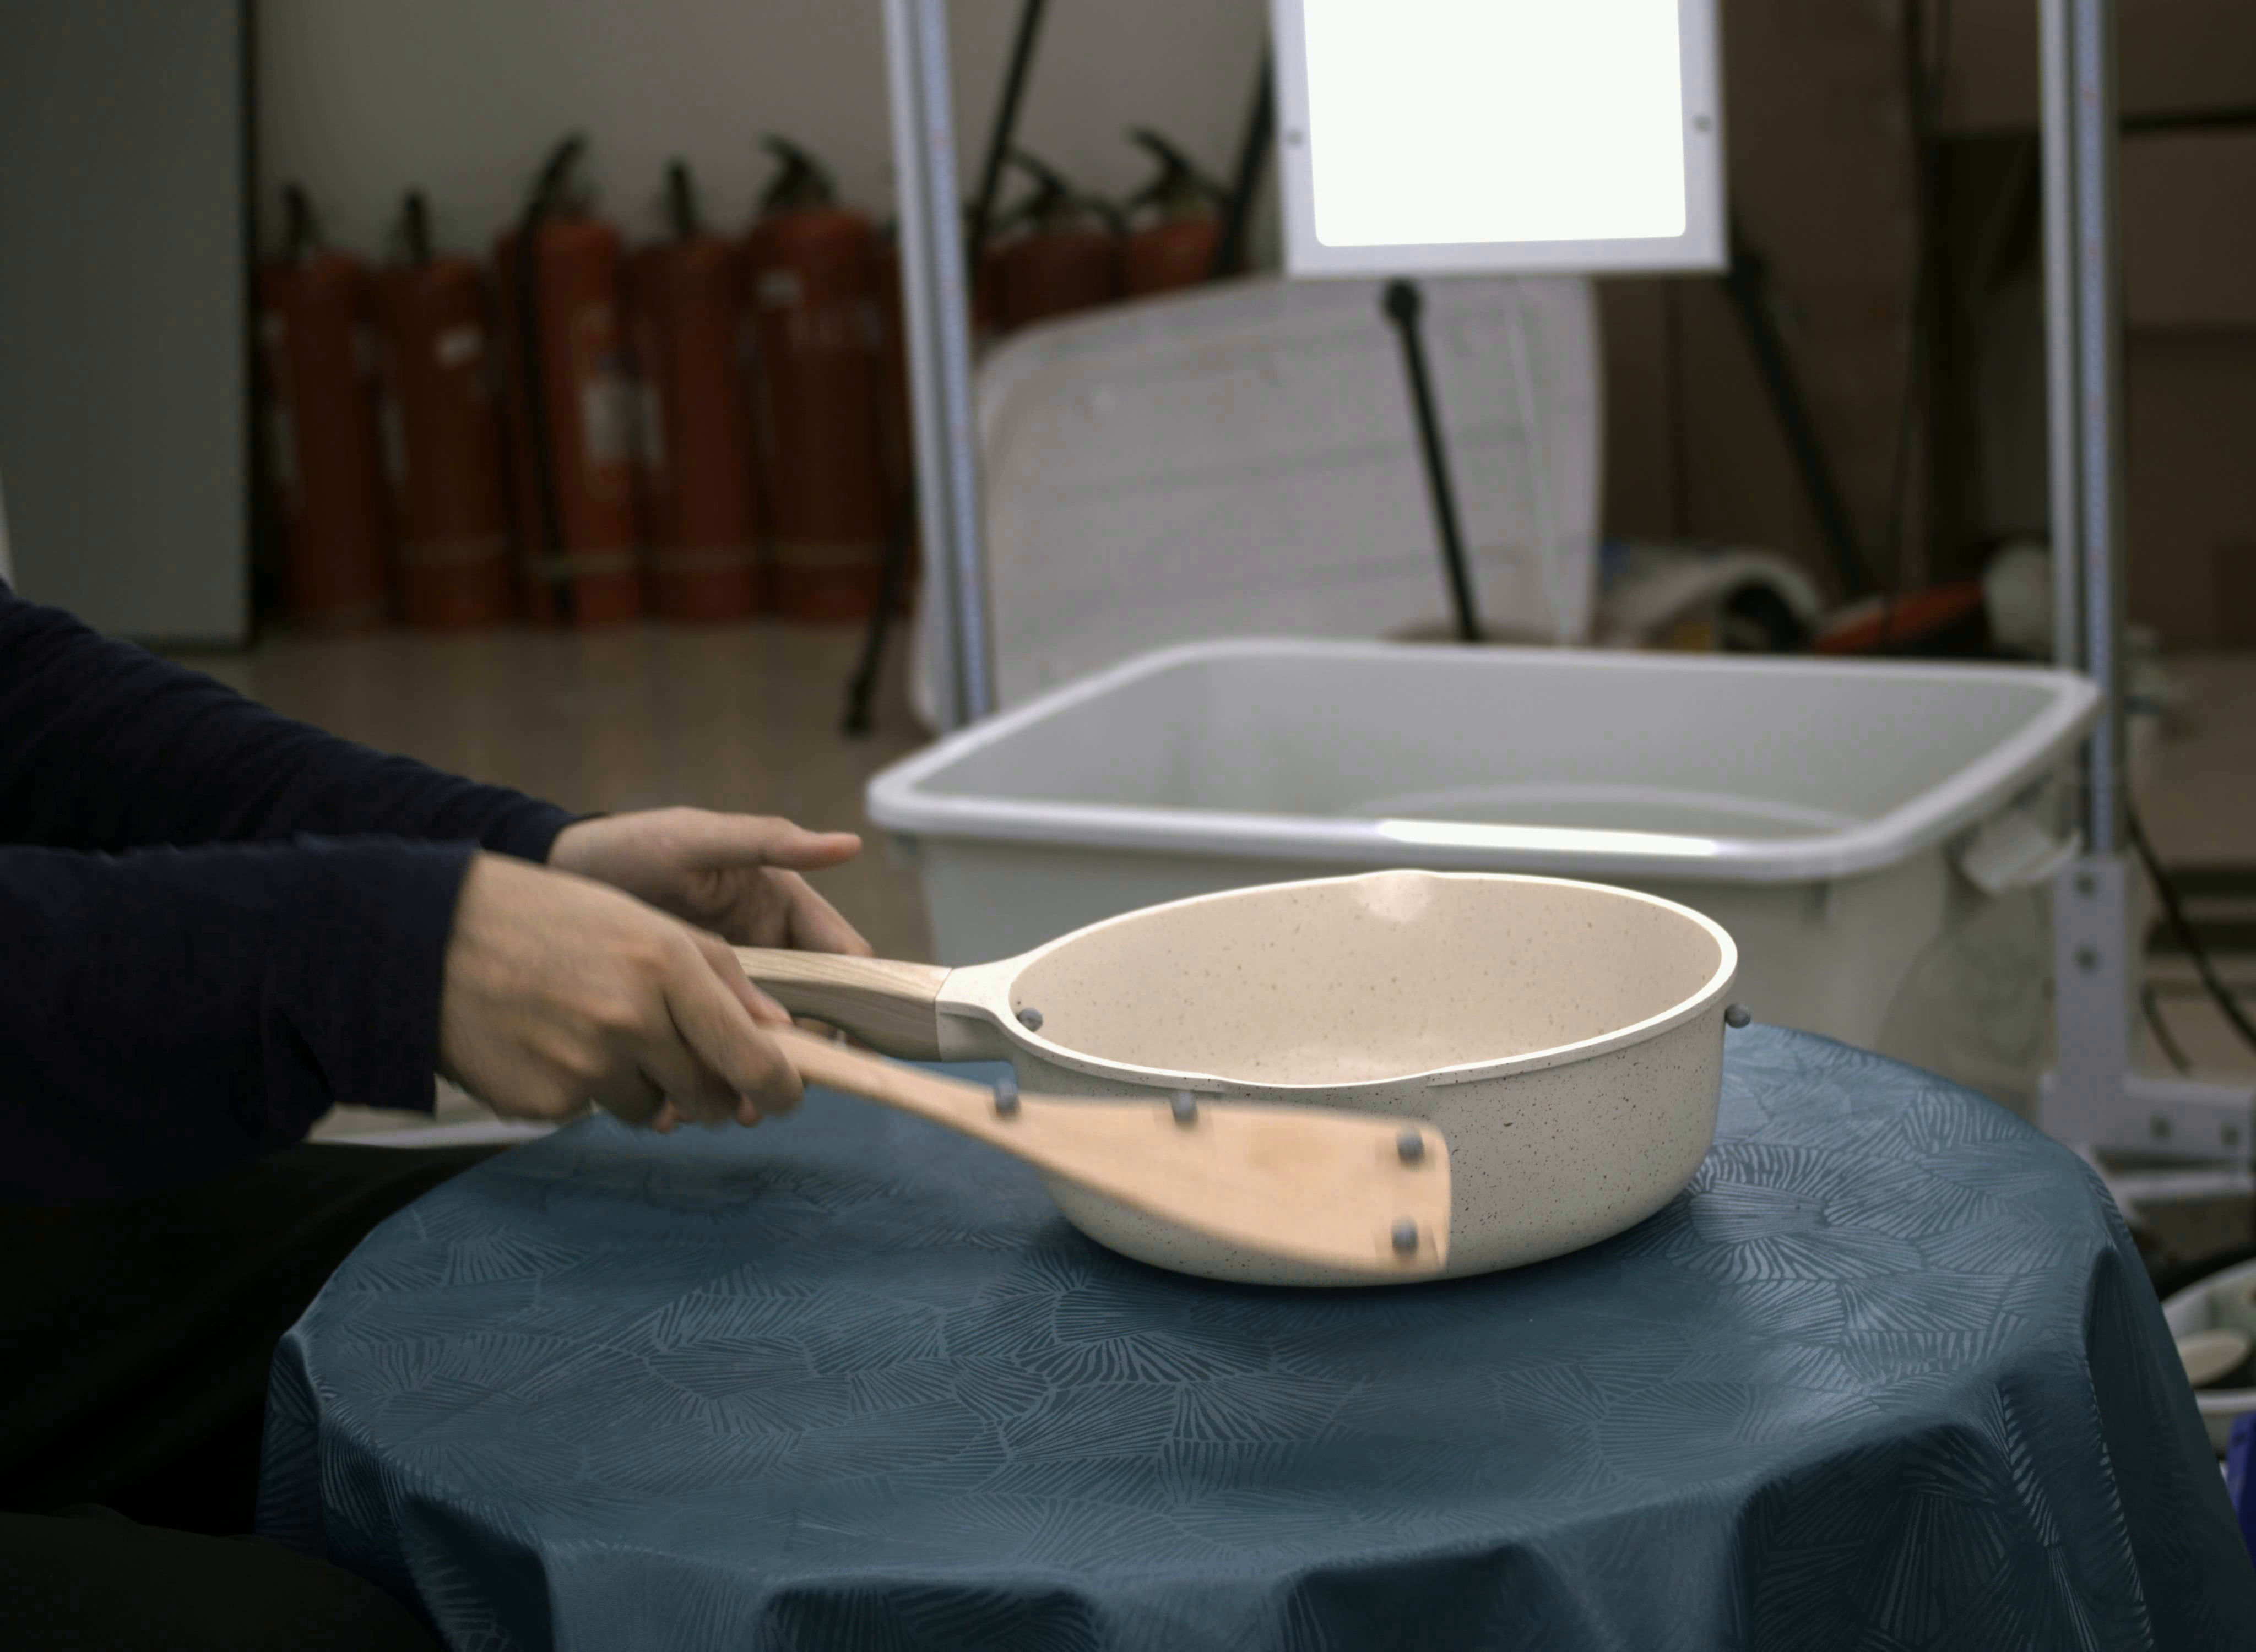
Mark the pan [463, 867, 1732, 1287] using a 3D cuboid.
[{"bbox_3d":[-0.010,0.084,1.877,0.437,0.102,0.261,-3,15,10],"label":"pan"}]

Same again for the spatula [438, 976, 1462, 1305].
[{"bbox_3d":[-0.054,0.087,1.671,0.329,0.016,0.079,14,33,10],"label":"spatula"}]
